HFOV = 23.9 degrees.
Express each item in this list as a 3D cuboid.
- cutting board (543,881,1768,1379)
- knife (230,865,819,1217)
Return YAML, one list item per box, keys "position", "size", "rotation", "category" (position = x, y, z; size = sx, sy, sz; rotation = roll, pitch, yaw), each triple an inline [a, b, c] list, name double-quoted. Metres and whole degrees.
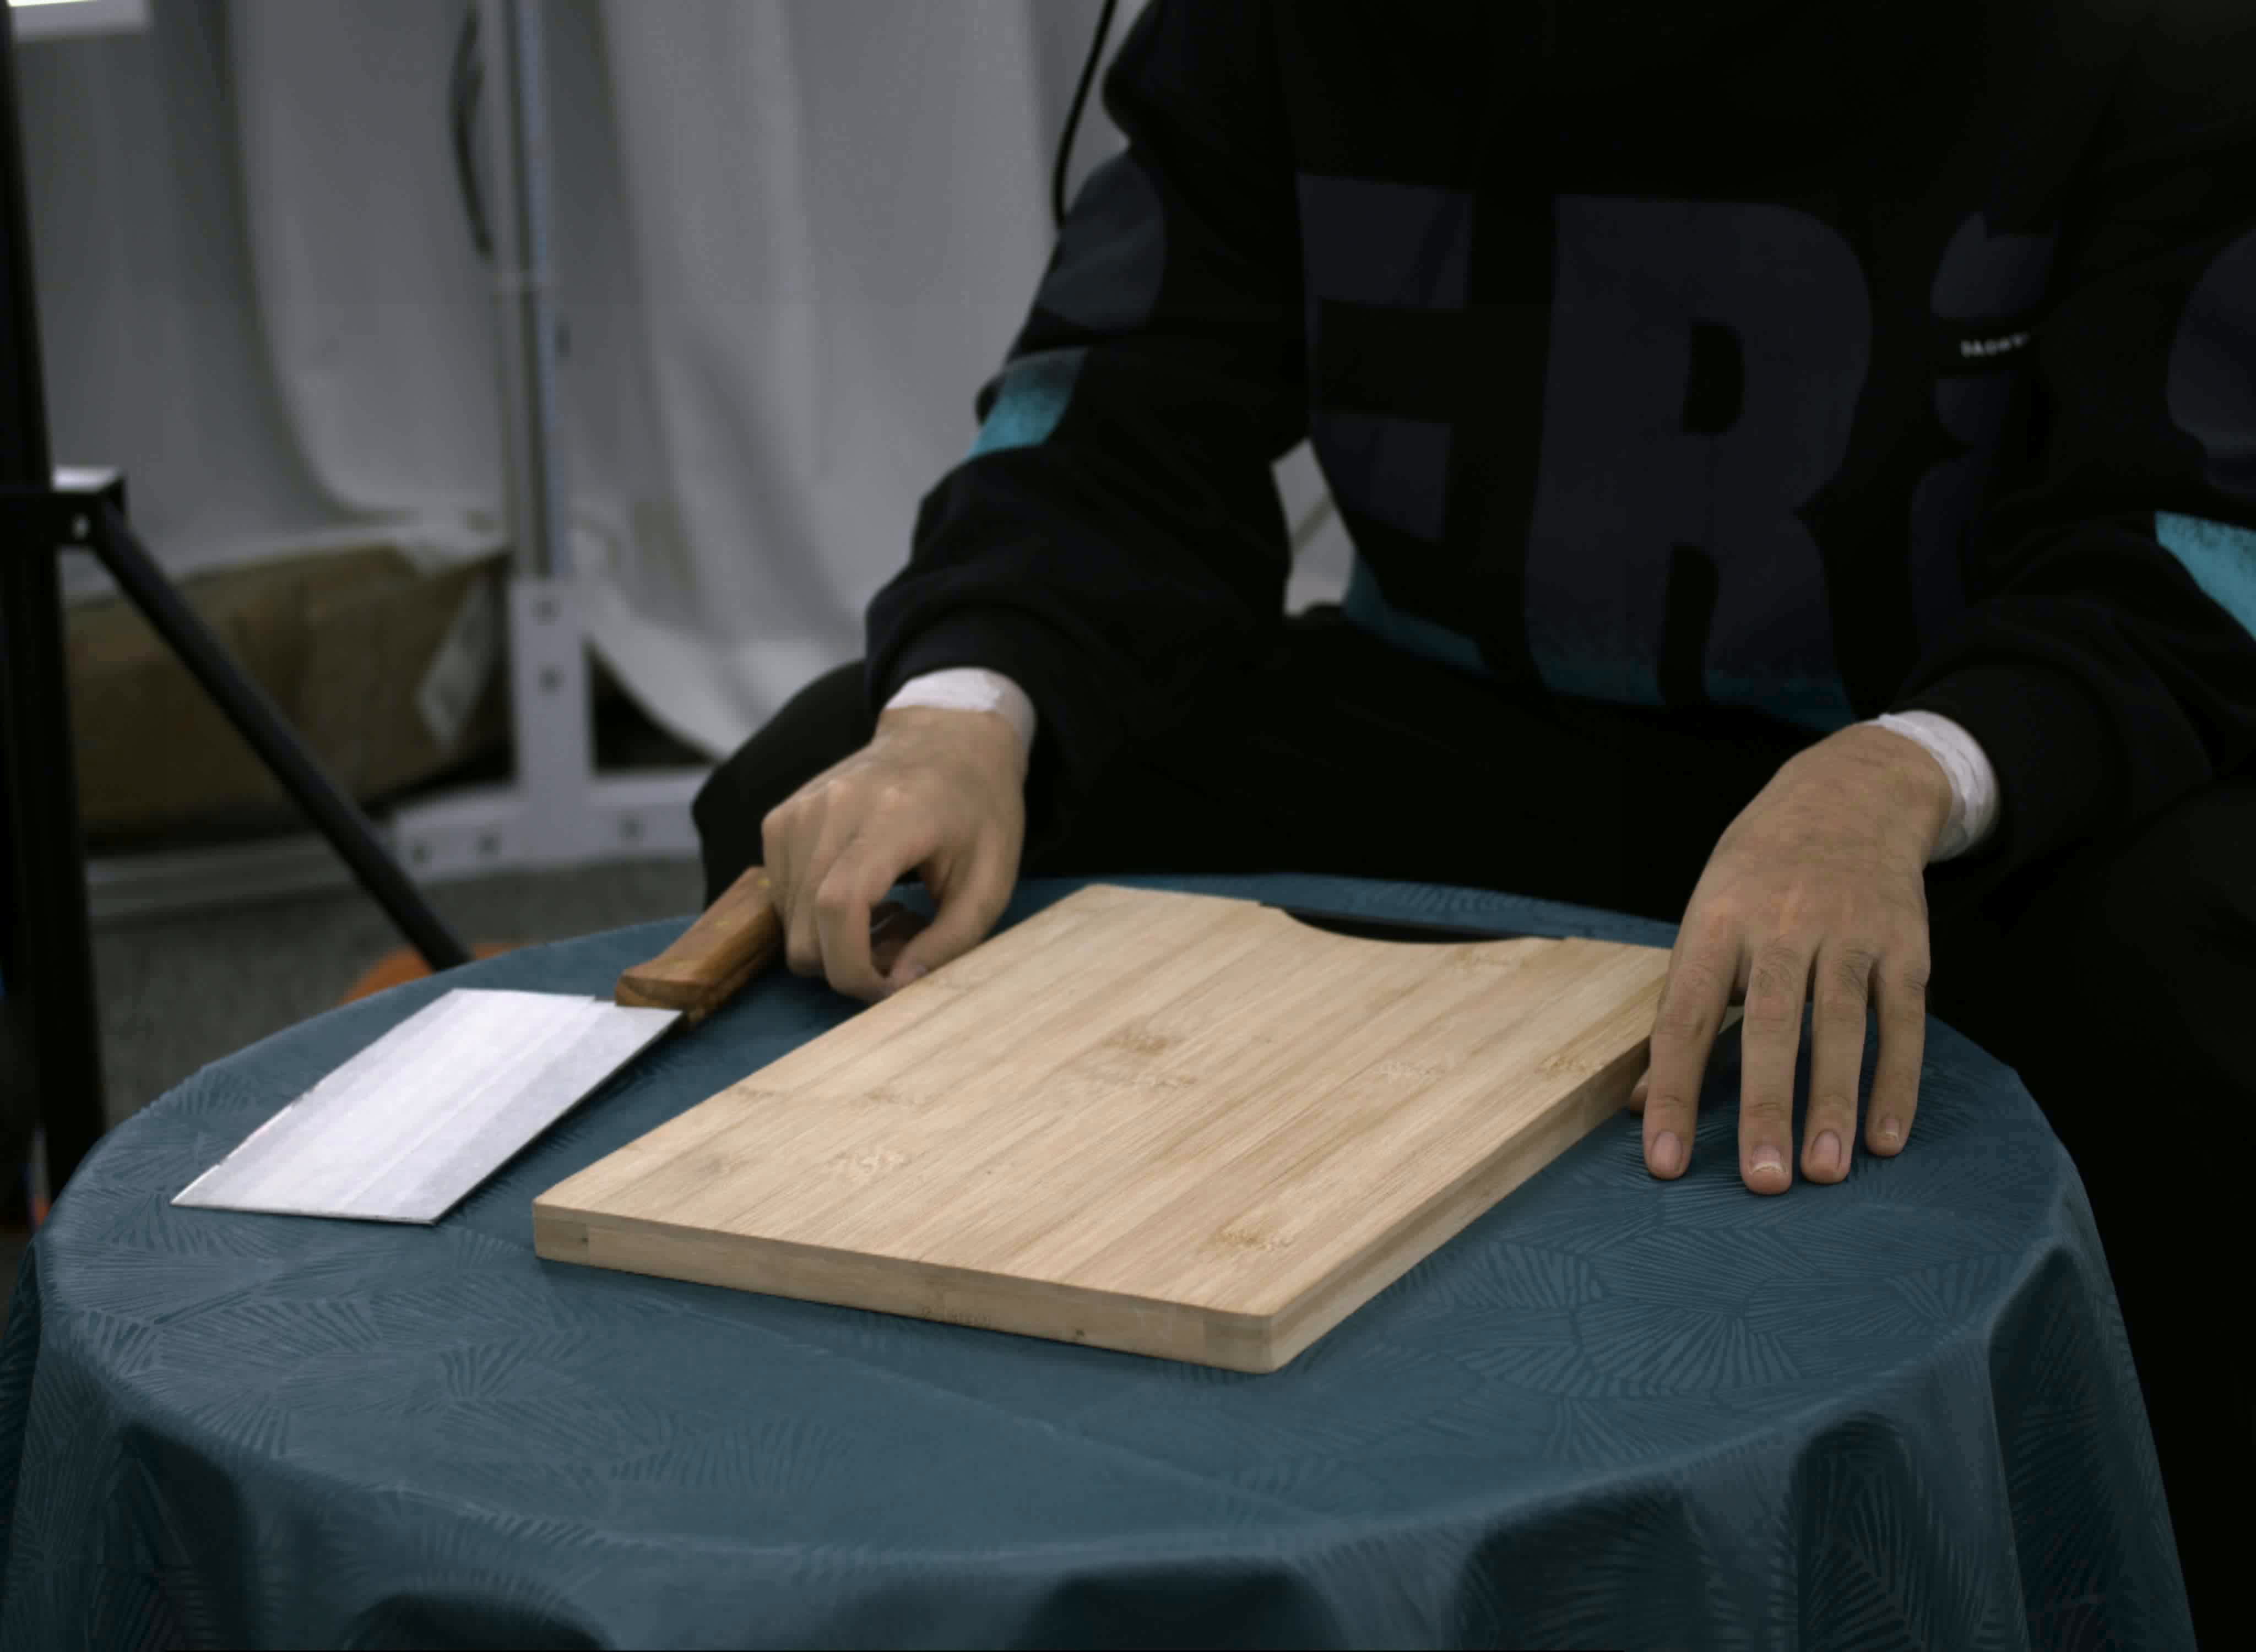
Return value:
- position: [0.017, 0.083, 1.612]
  size: [0.255, 0.023, 0.343]
  rotation: [6, 18, 28]
  category: "cutting board"
- position: [-0.191, 0.067, 1.707]
  size: [0.094, 0.021, 0.302]
  rotation: [2, 19, 21]
  category: "knife"
